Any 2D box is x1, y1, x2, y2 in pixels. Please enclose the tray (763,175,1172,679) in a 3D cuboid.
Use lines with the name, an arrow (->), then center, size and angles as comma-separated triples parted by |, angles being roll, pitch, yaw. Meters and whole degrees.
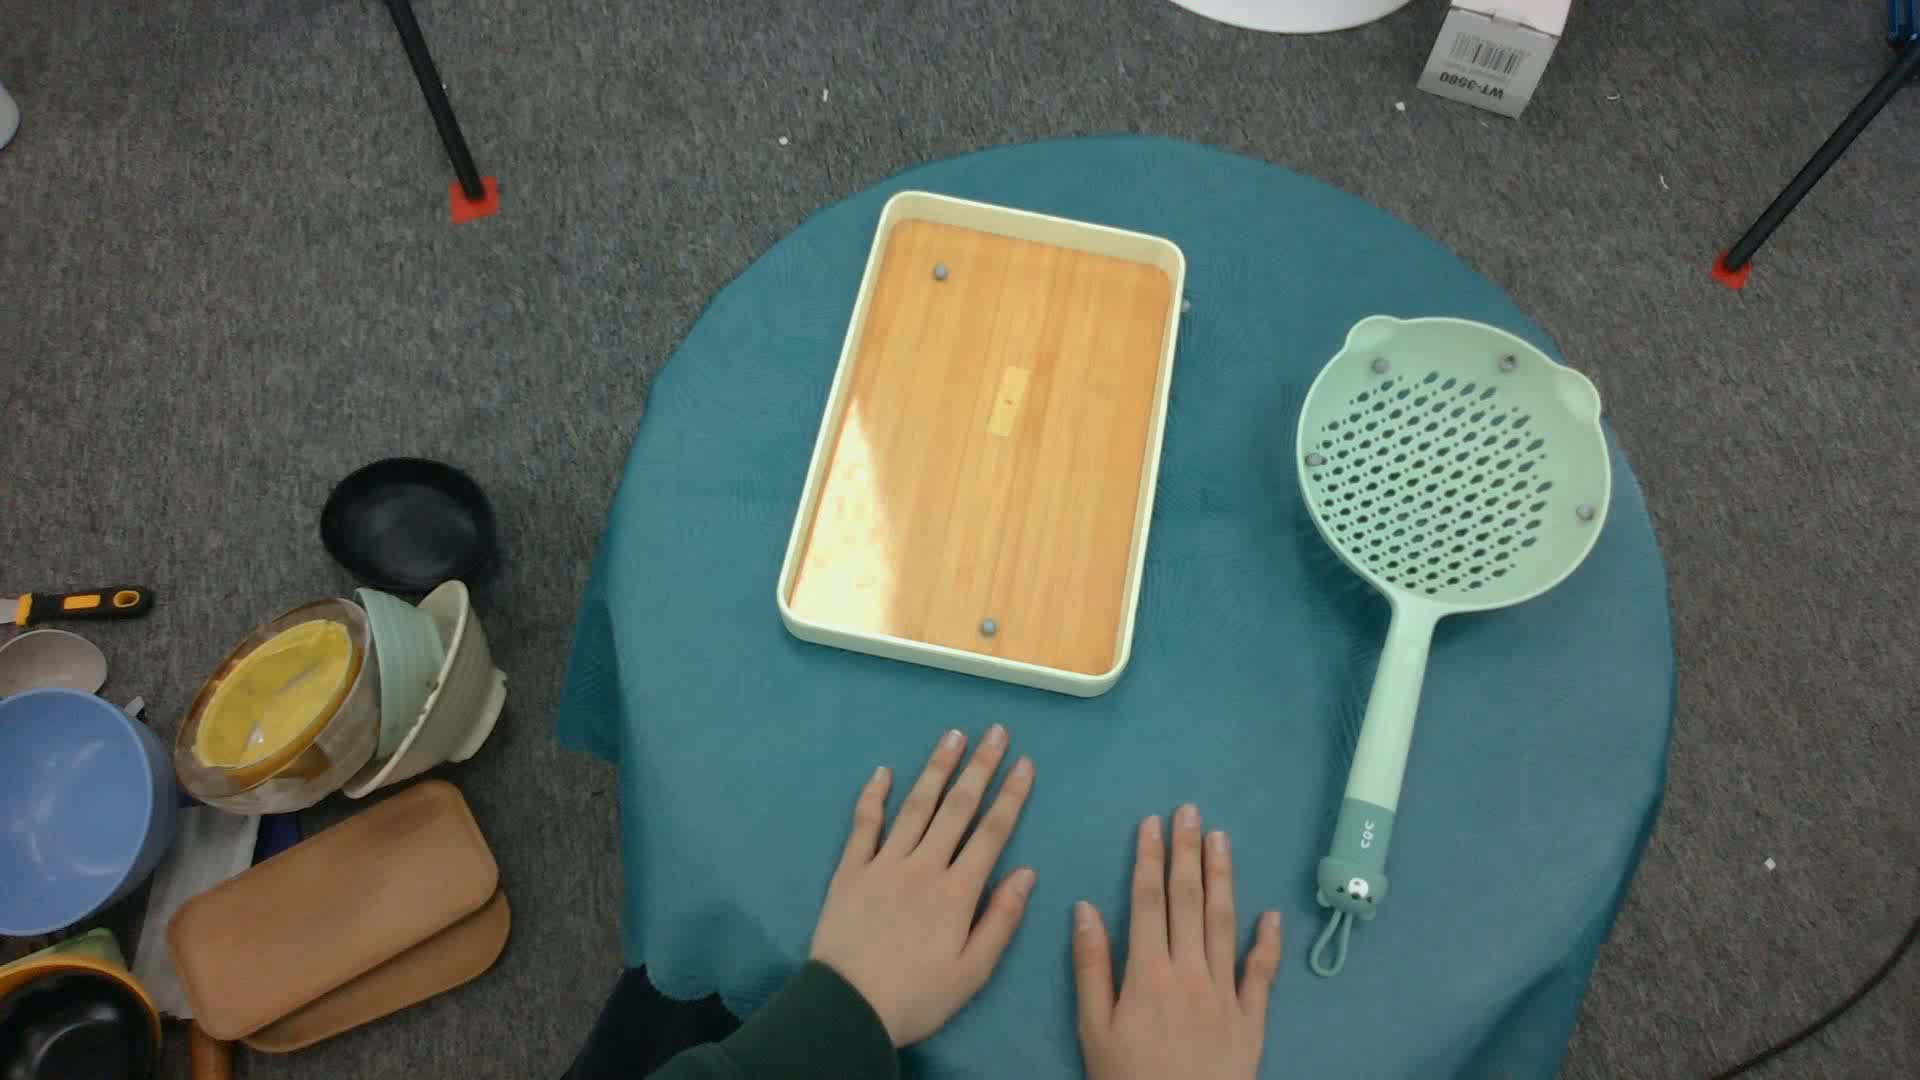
tray -> 0.013, -0.076, 0.793 | 0.191, 0.027, 0.301 | 11, 63, 1

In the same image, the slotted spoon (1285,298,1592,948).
slotted spoon -> 0.232, 0.036, 0.733 | 0.169, 0.075, 0.360 | 17, 63, 5
